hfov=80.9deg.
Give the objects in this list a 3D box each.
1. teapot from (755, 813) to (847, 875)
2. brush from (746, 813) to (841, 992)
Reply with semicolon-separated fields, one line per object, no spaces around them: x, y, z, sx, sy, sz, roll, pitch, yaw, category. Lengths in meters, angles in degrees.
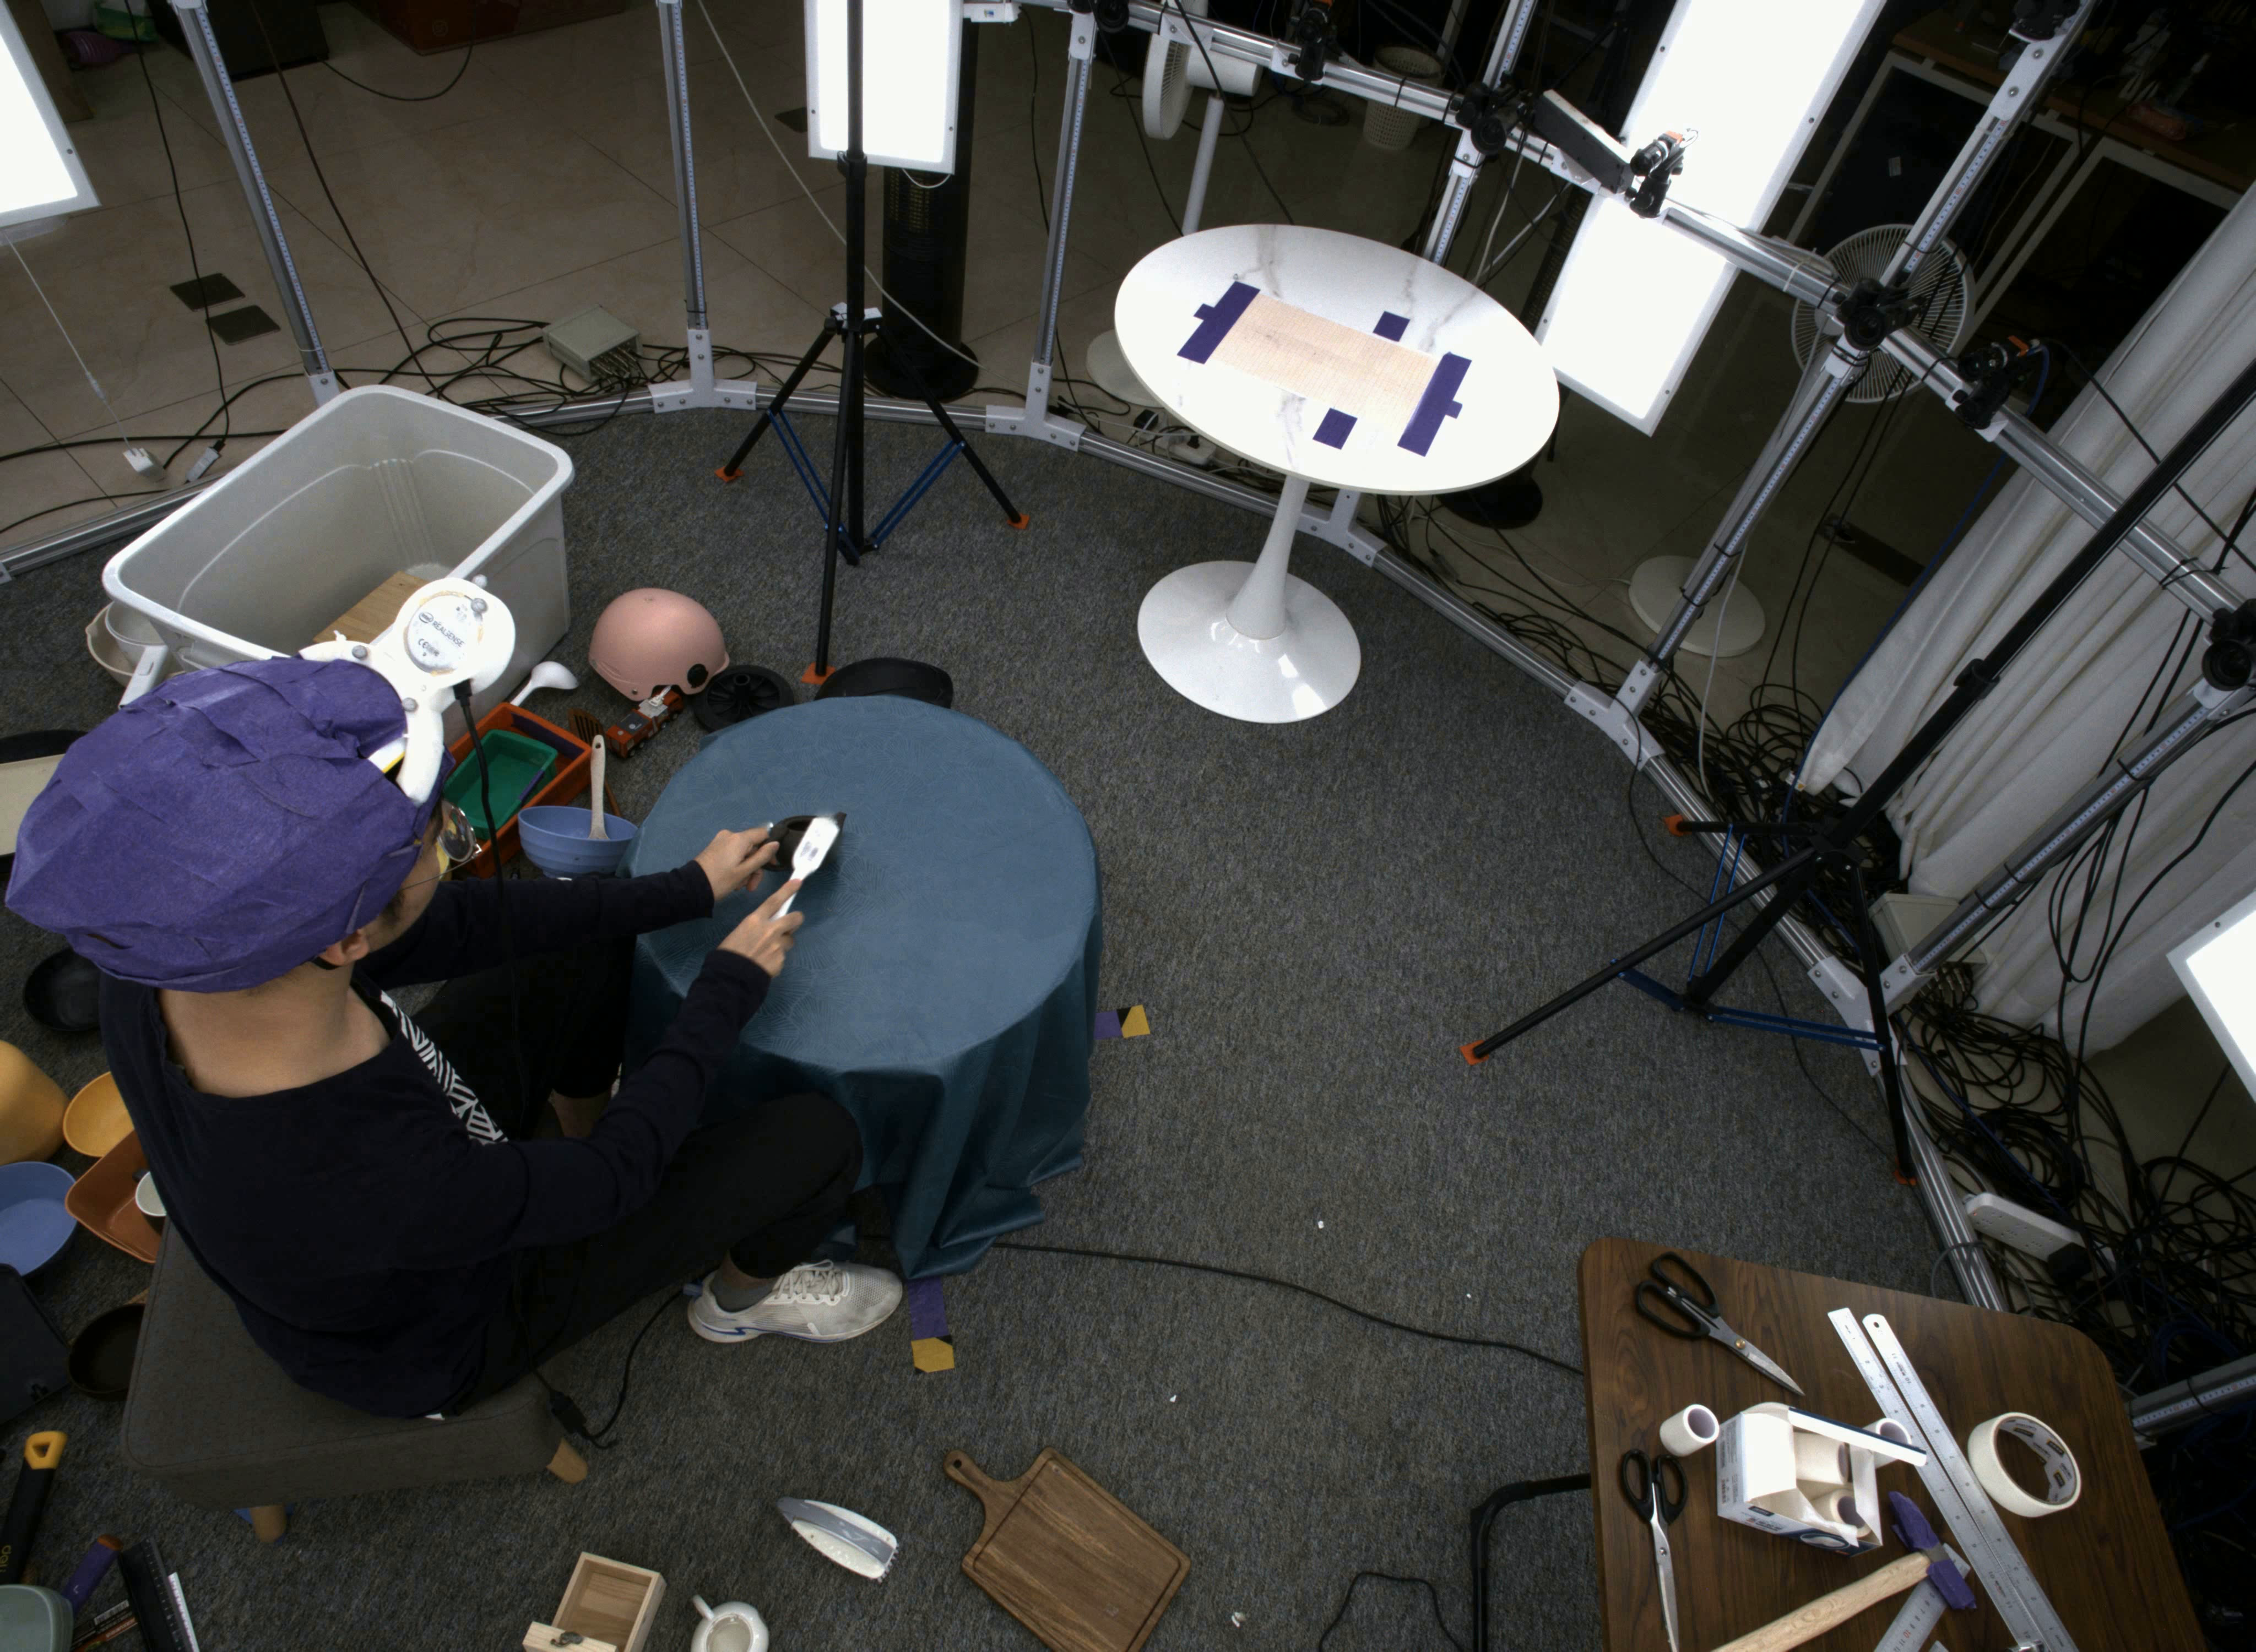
-0.416;0.022;1.660;0.089;0.066;0.155;16;26;30;teapot
-0.409;0.090;1.569;0.035;0.049;0.242;29;64;-21;brush
